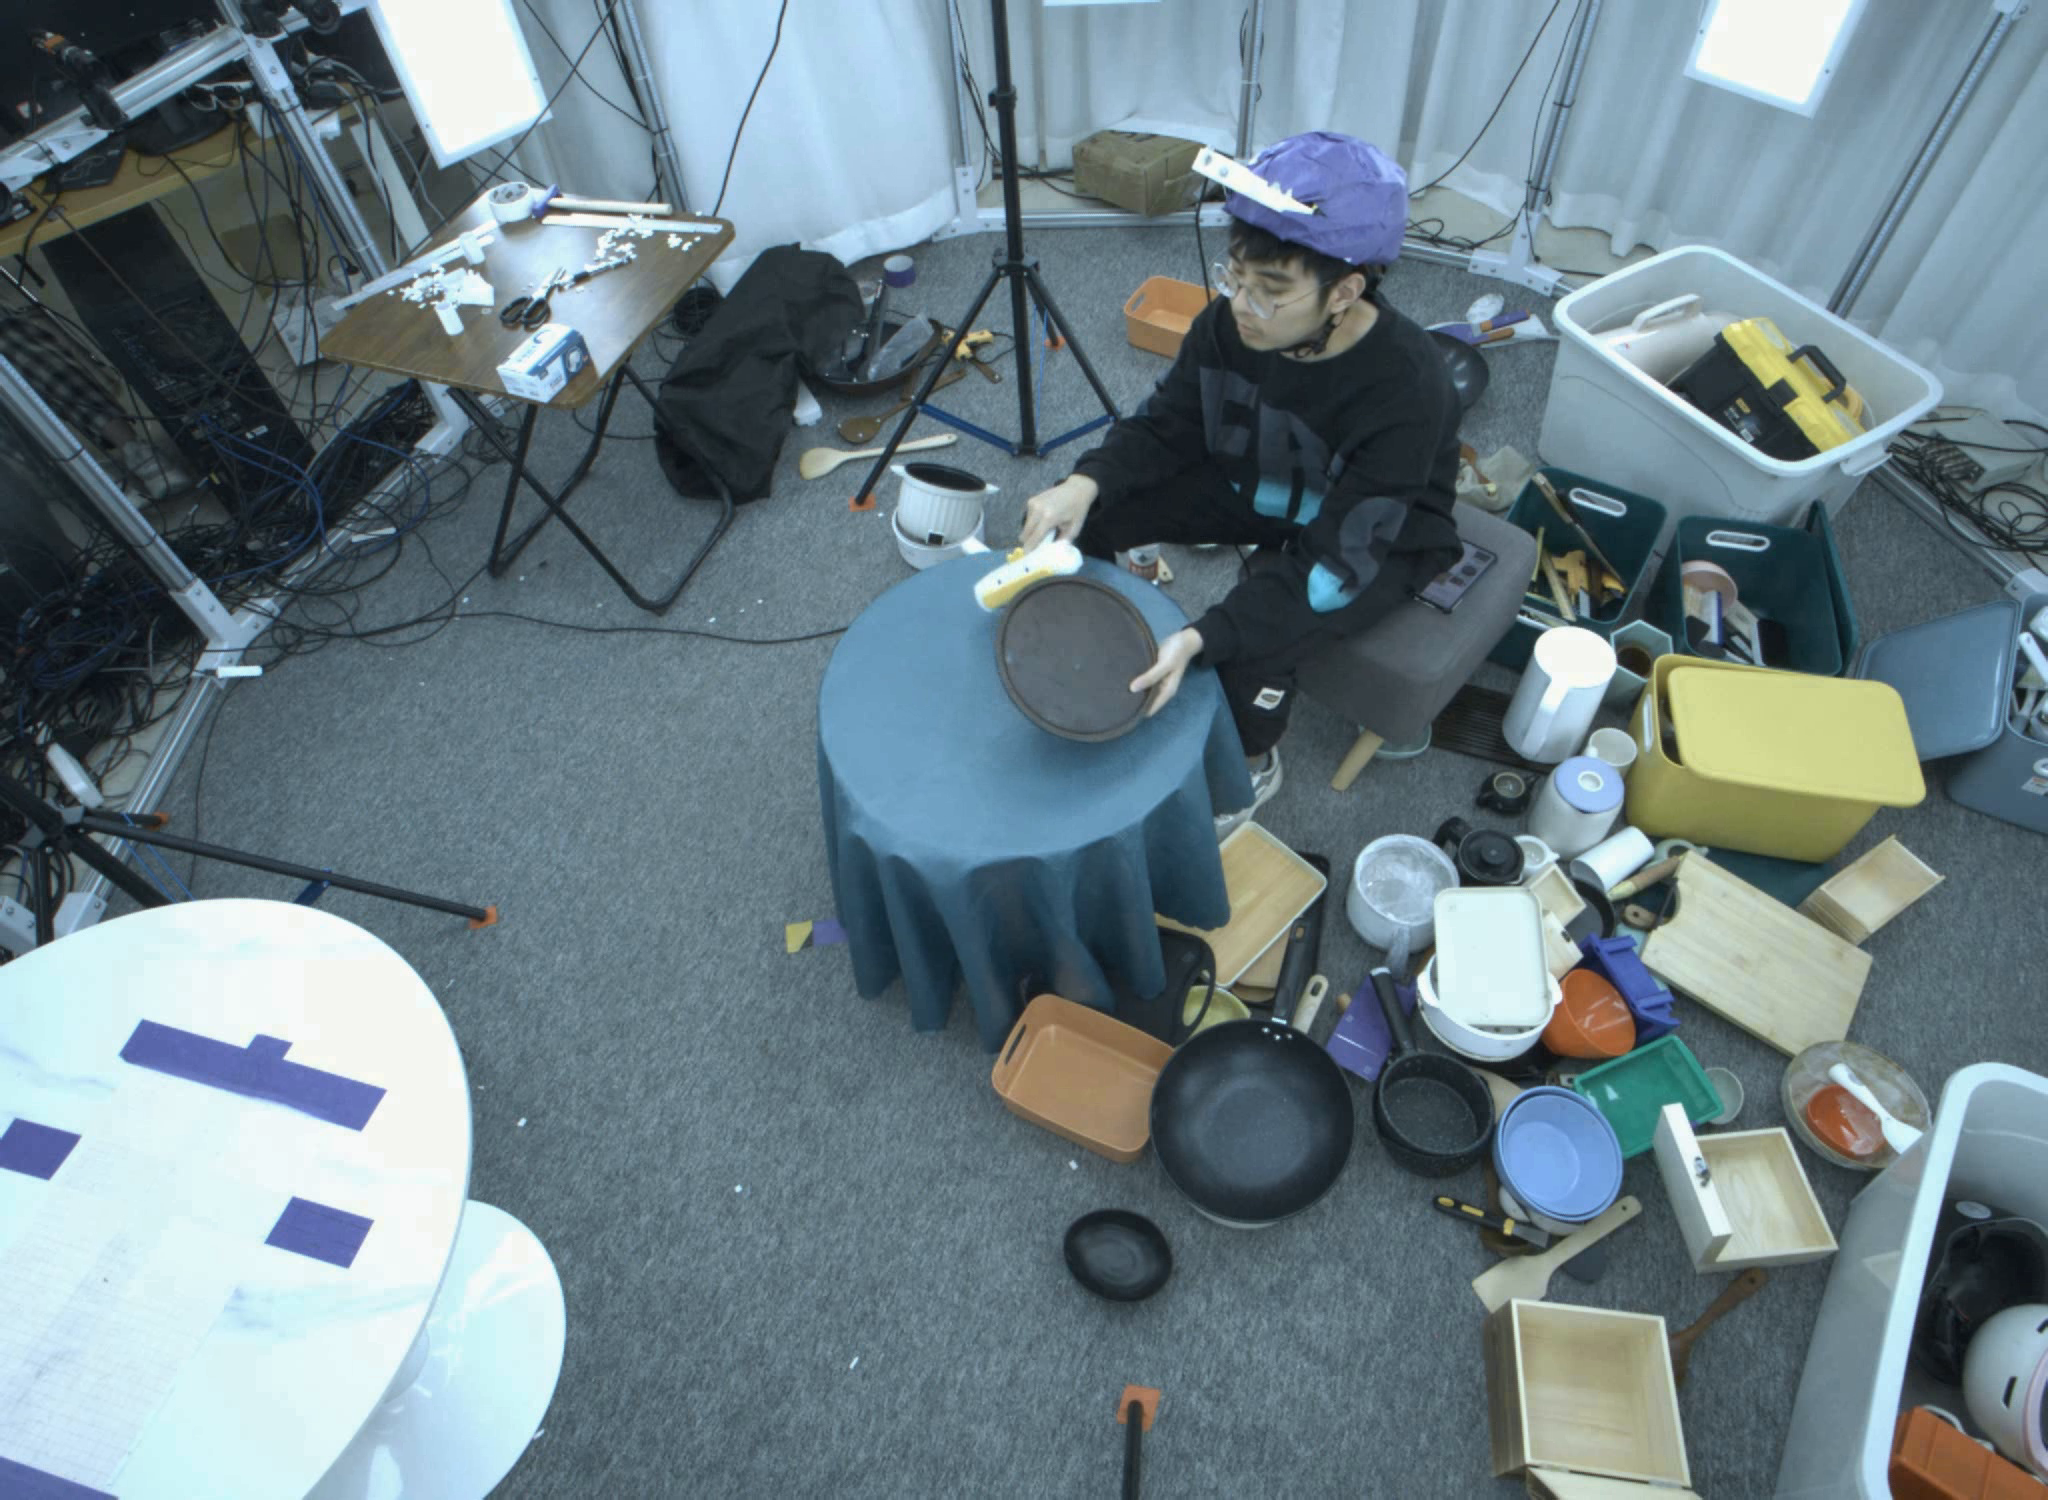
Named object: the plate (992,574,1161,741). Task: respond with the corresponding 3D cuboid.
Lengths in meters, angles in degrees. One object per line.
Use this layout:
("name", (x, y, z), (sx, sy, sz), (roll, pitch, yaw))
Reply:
("plate", (0.074, -0.131, 1.740), (0.258, 0.029, 0.253), (7, 71, -20))

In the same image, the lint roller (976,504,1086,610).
("lint roller", (0.021, -0.307, 1.870), (0.075, 0.190, 0.192), (47, 42, -18))
